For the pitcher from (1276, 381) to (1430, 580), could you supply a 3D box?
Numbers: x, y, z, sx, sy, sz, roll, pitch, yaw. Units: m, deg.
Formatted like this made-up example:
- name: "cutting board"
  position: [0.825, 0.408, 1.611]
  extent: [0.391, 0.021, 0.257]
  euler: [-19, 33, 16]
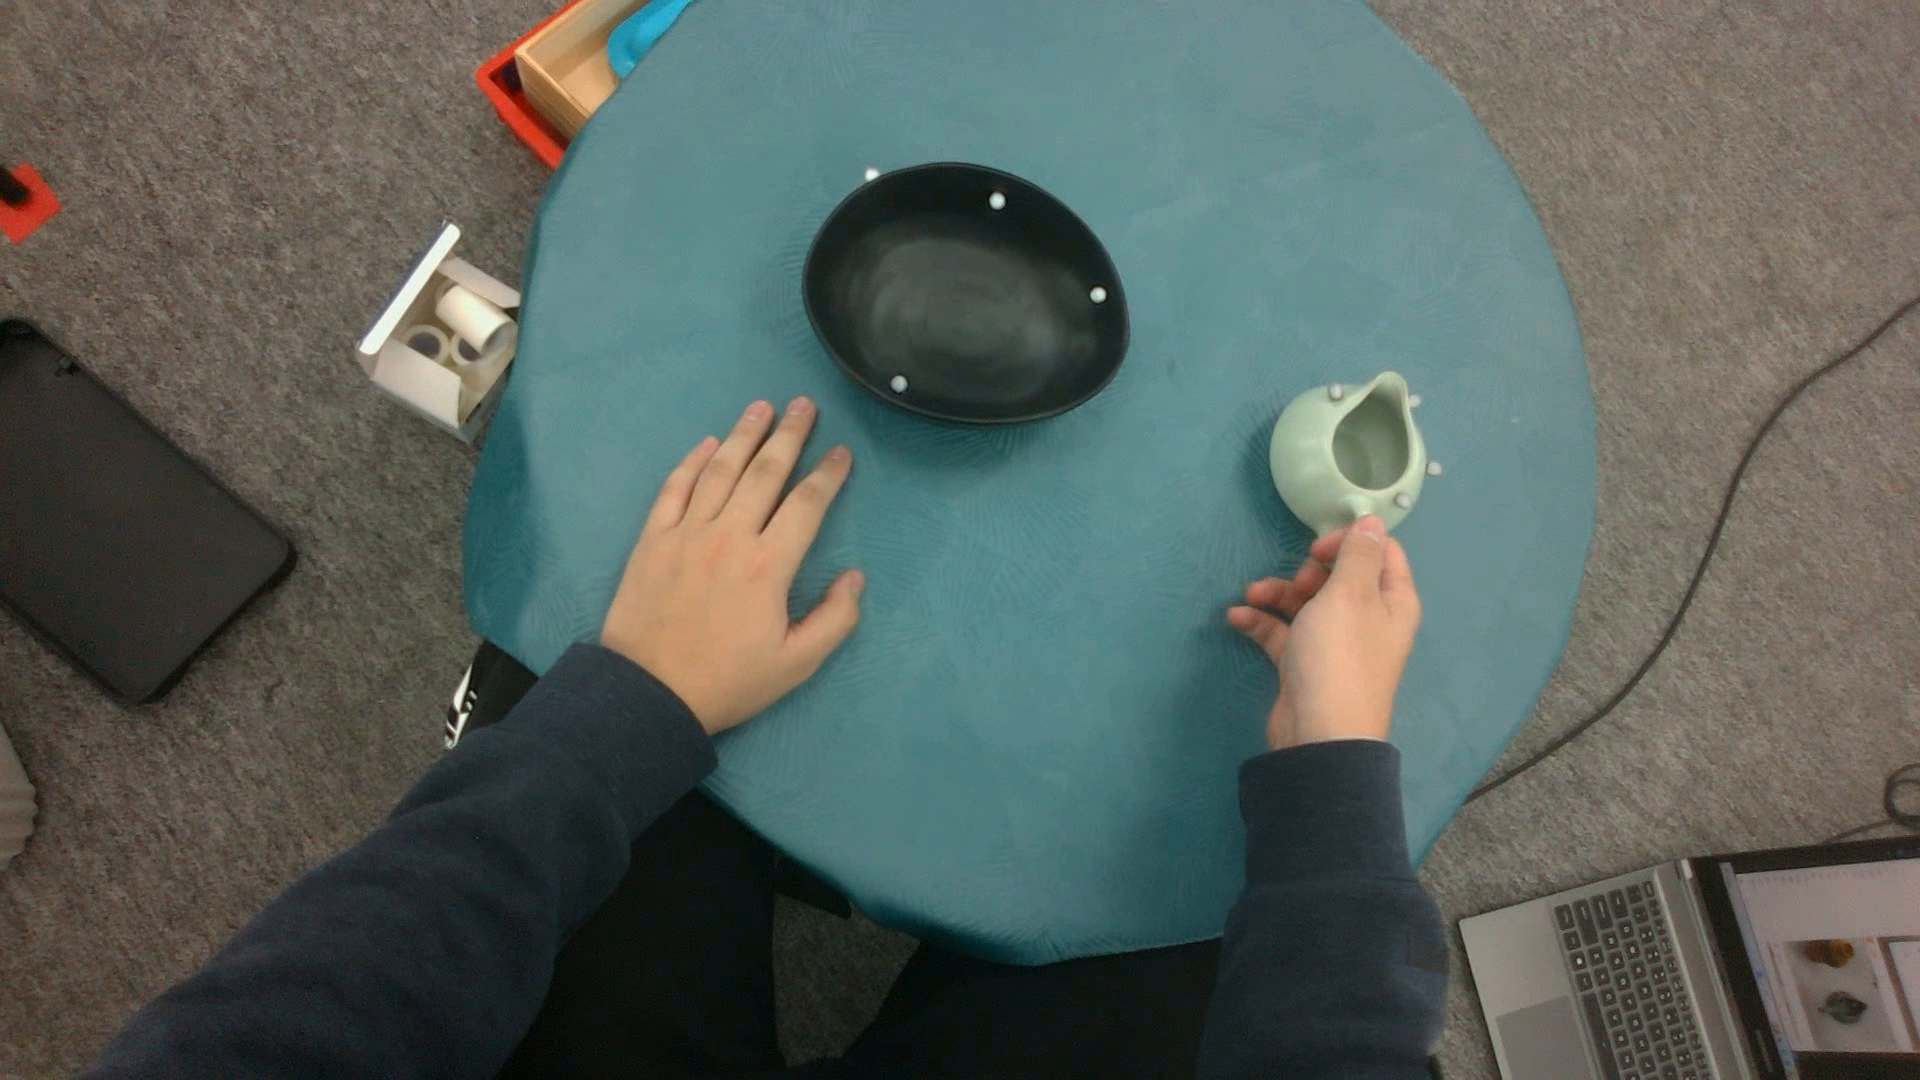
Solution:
- name: "pitcher"
  position: [0.214, -0.029, 0.744]
  extent: [0.086, 0.060, 0.108]
  euler: [13, 76, -6]

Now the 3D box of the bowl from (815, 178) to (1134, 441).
- name: "bowl"
  position: [0.007, -0.113, 0.726]
  extent: [0.170, 0.066, 0.137]
  euler: [9, 77, -8]
